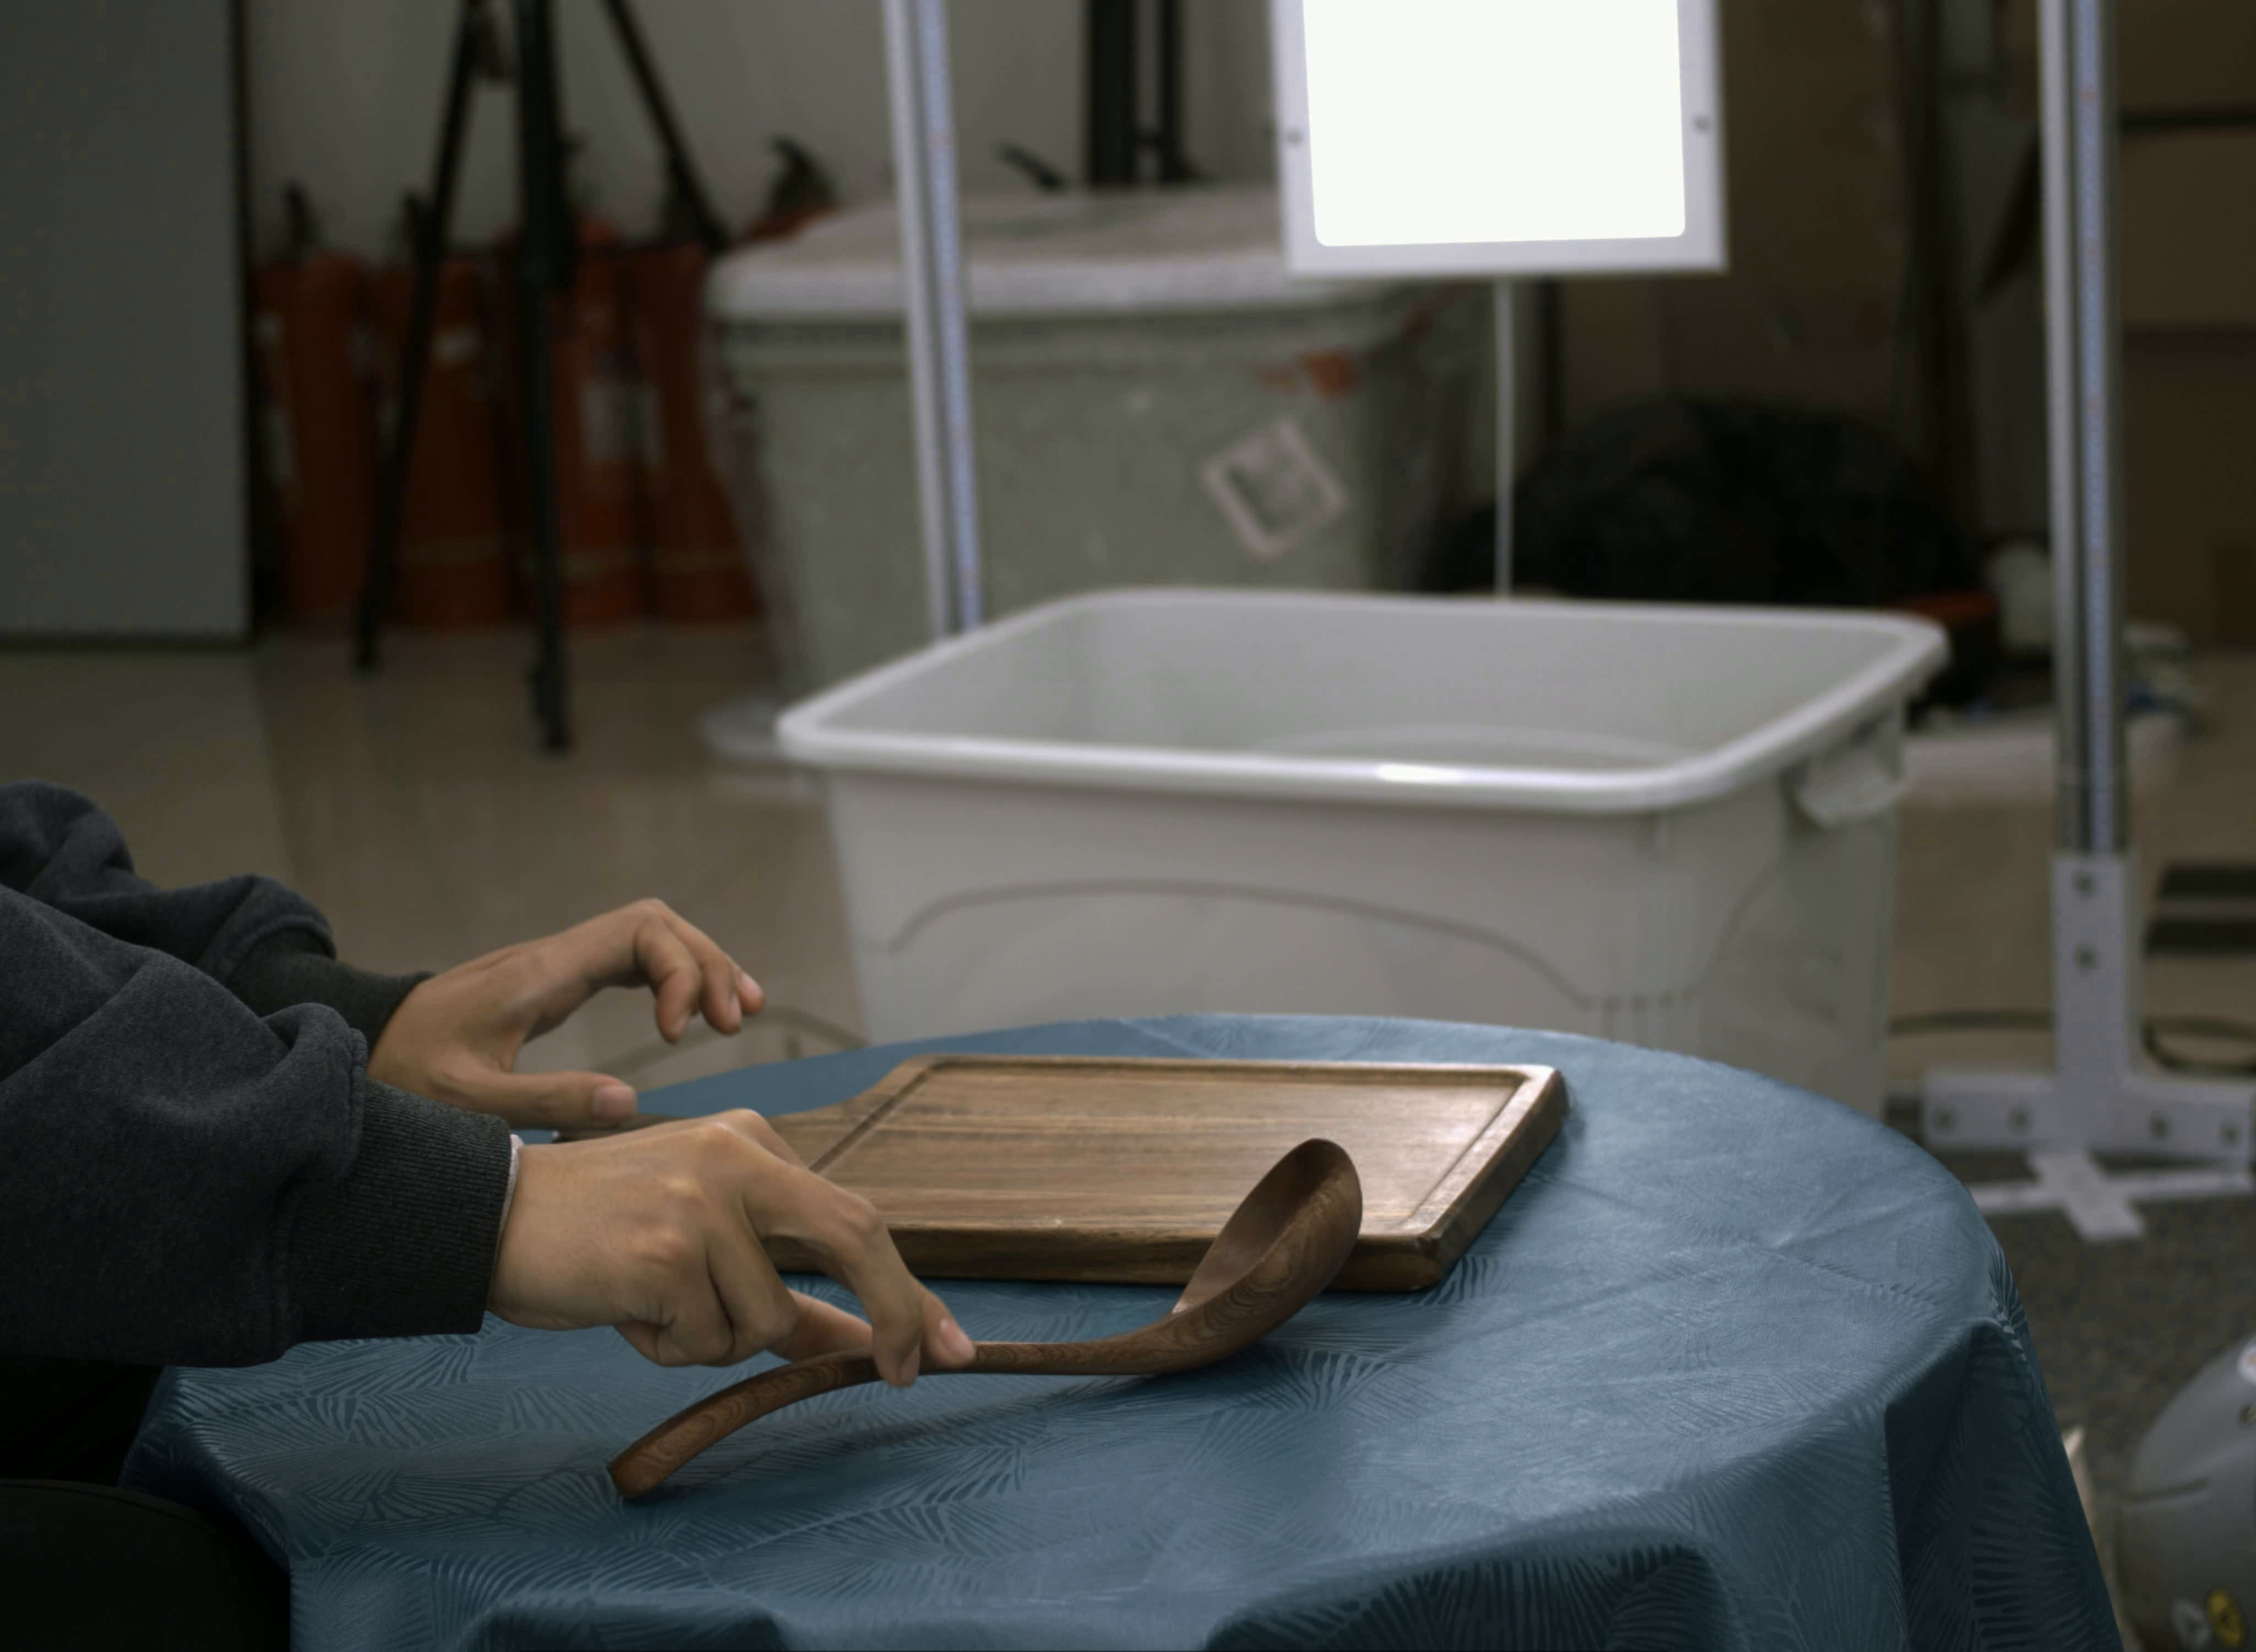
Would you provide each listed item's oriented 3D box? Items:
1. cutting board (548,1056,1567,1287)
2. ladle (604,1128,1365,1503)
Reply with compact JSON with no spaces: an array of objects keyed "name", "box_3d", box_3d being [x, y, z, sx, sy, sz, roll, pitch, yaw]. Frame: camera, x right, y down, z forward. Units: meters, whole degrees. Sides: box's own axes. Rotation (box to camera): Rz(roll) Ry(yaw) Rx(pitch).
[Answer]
[{"name":"cutting board","box_3d":[-0.037,0.115,1.908,0.357,0.023,0.197,0,14,20]},{"name":"ladle","box_3d":[-0.044,0.148,1.690,0.255,0.065,0.077,-11,-13,-20]}]
